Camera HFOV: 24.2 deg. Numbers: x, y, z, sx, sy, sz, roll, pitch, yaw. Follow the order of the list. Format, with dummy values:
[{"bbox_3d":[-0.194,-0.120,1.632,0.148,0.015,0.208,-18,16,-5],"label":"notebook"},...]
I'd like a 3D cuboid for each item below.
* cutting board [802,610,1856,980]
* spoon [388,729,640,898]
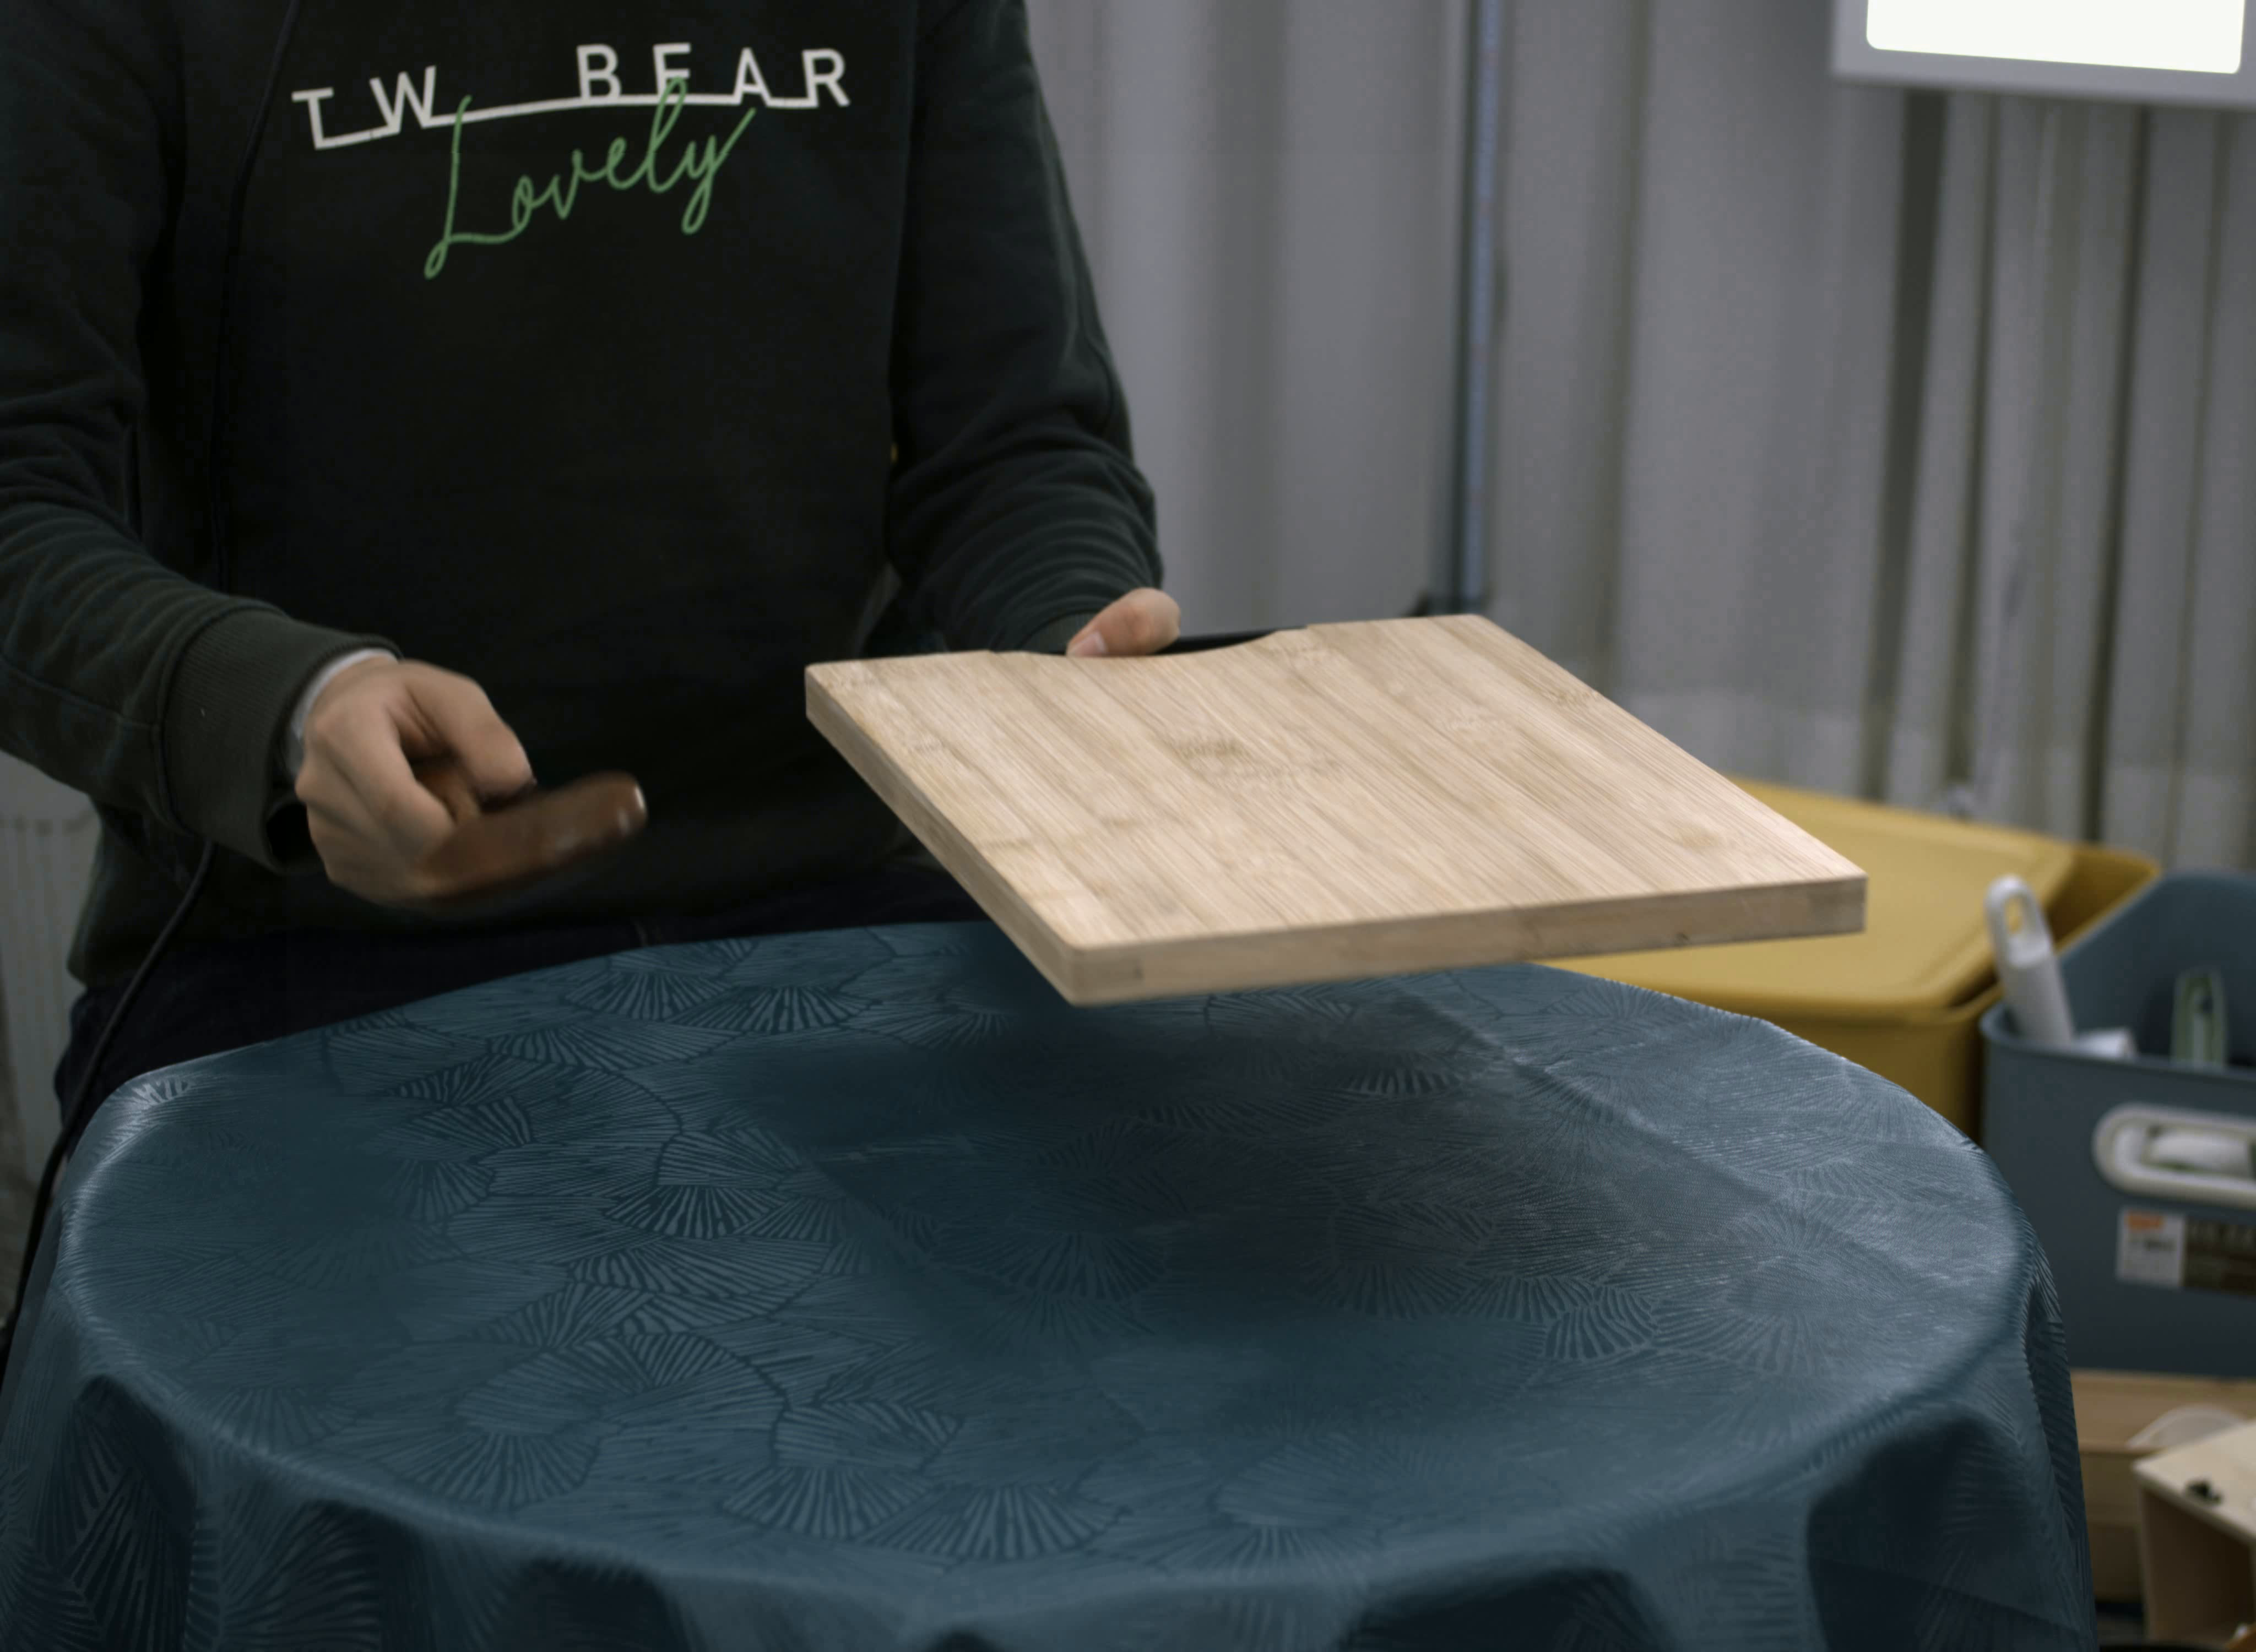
[{"bbox_3d":[0.050,-0.015,1.647,0.251,0.024,0.345,-4,16,-16],"label":"cutting board"},{"bbox_3d":[-0.191,-0.008,1.573,0.075,0.017,0.214,-29,16,-12],"label":"spoon"}]
